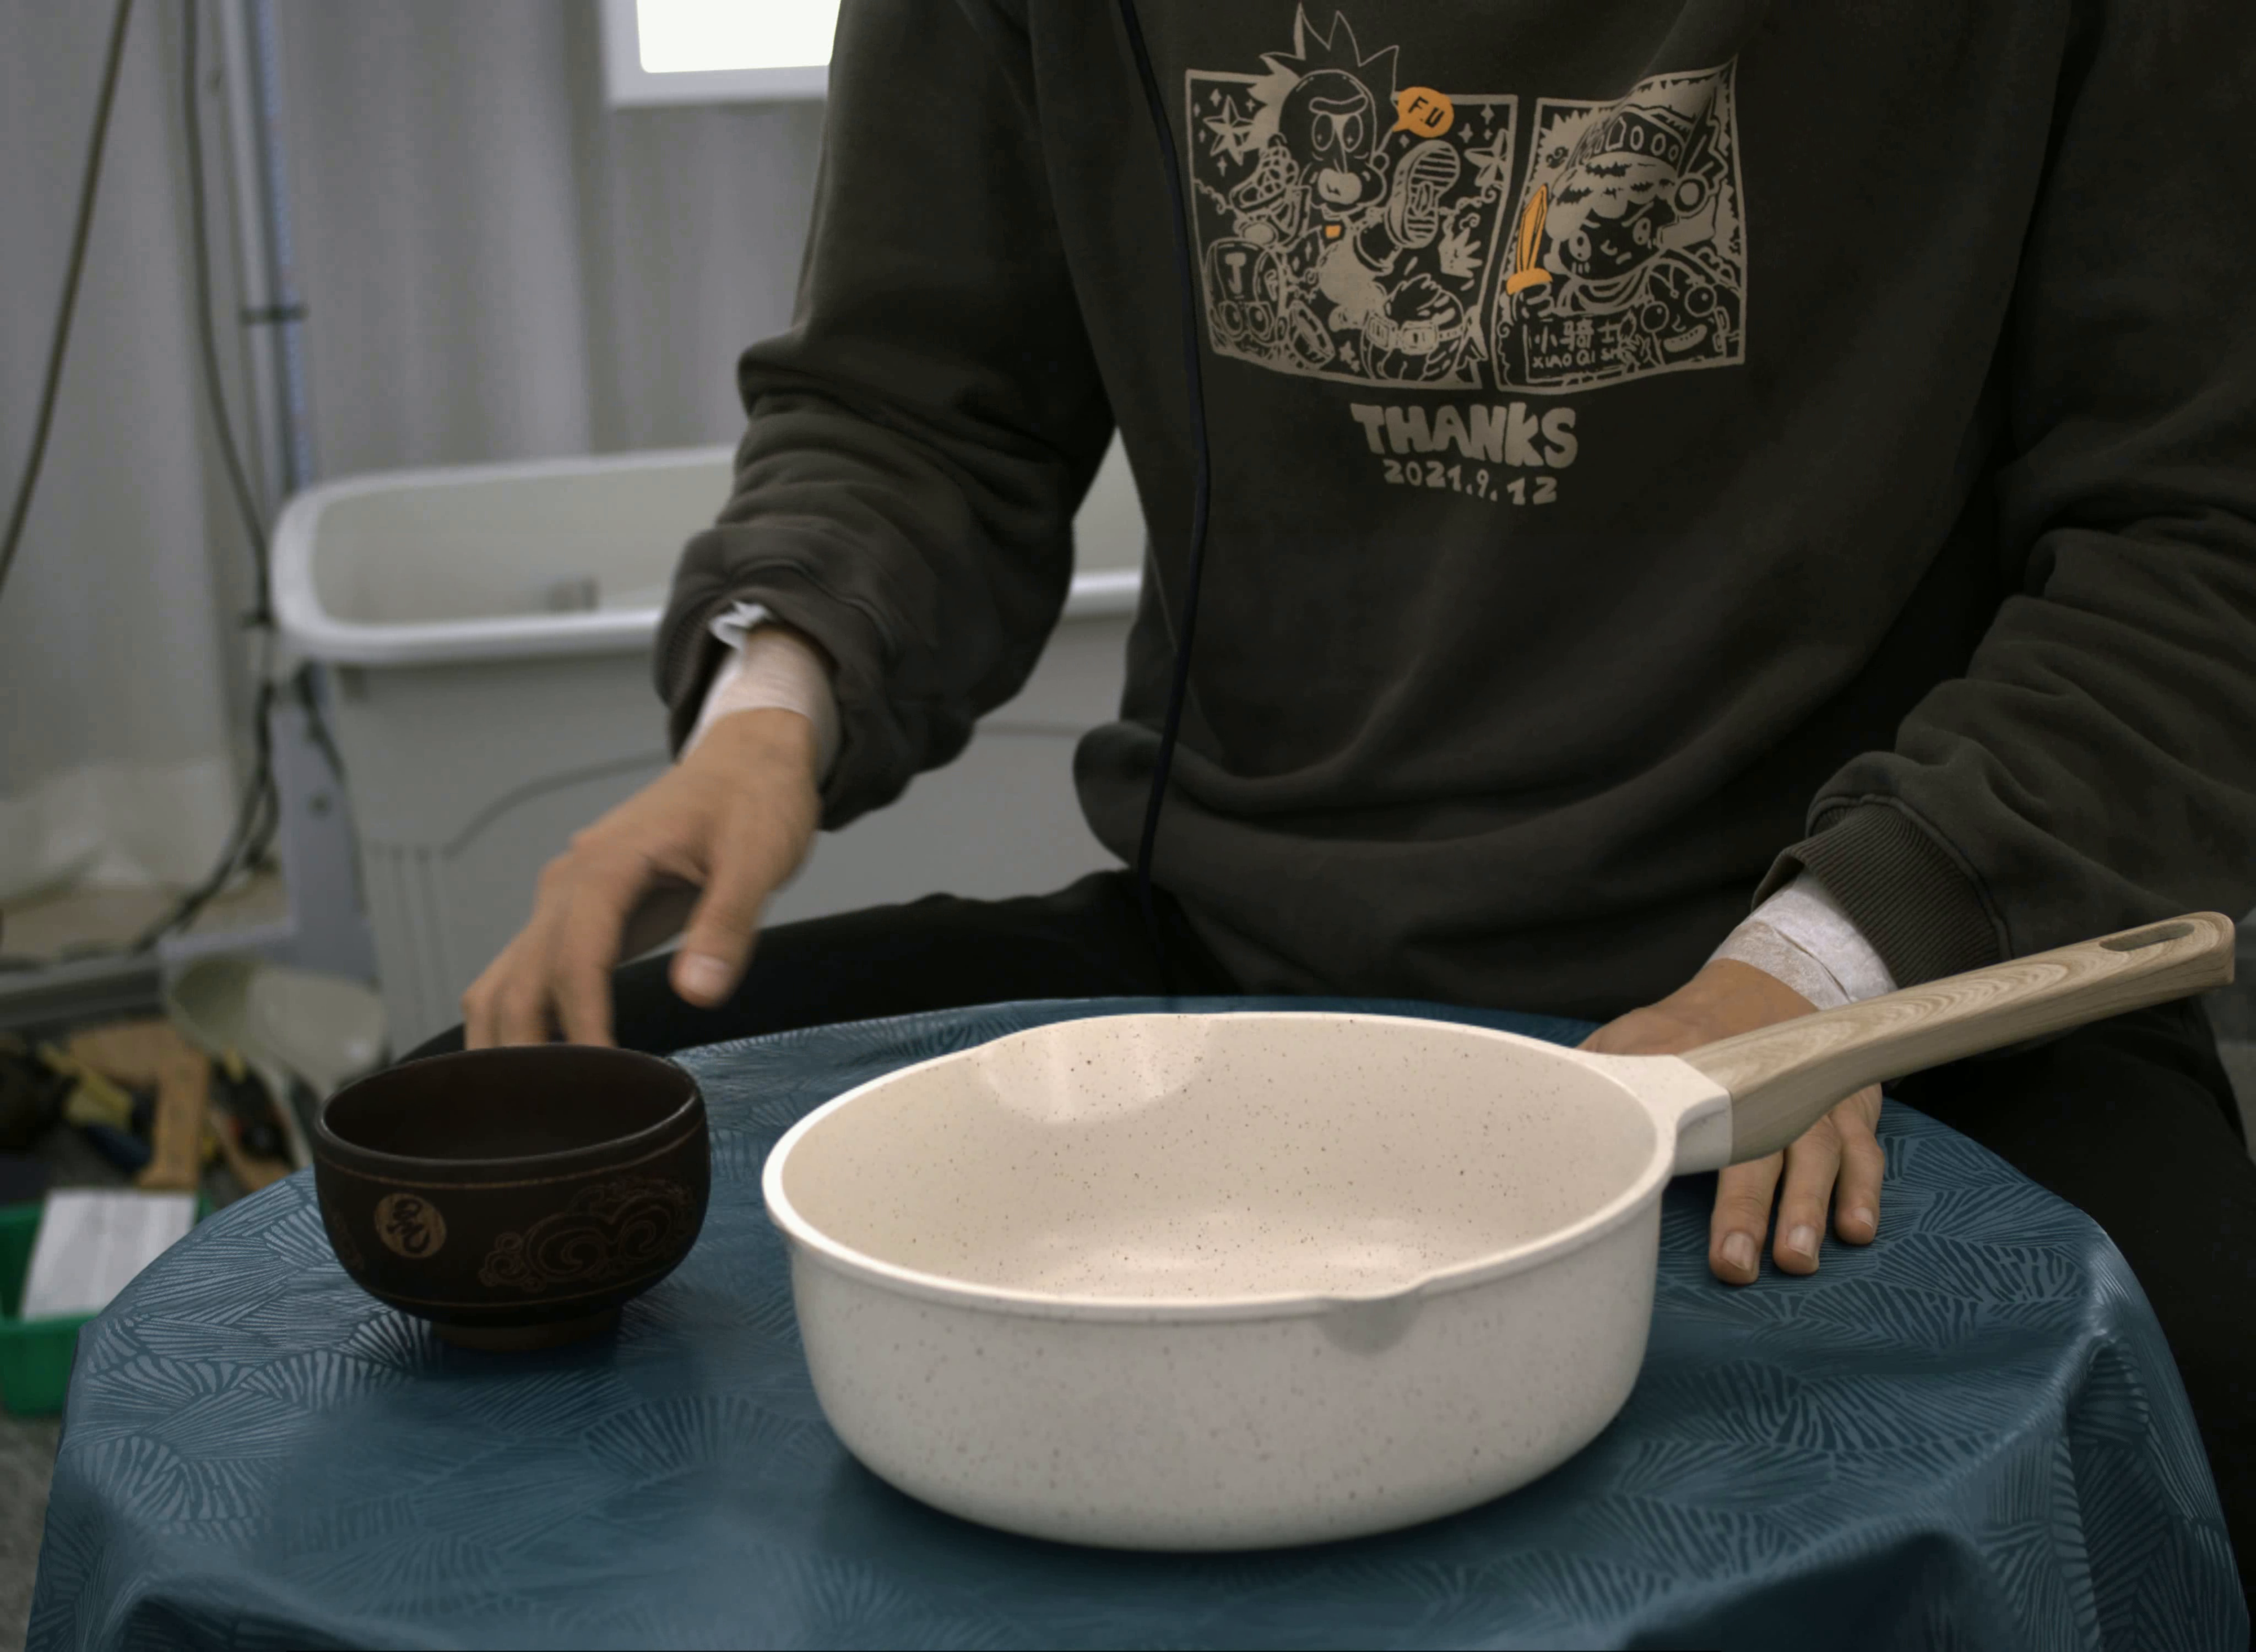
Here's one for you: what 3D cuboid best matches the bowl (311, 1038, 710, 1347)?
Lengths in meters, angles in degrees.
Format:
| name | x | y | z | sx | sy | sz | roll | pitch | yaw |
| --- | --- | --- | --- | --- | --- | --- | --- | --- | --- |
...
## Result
| name | x | y | z | sx | sy | sz | roll | pitch | yaw |
| --- | --- | --- | --- | --- | --- | --- | --- | --- | --- |
| bowl | -0.181 | 0.113 | 1.626 | 0.117 | 0.069 | 0.119 | -4 | 15 | 1 |

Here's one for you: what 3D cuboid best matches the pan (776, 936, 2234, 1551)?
| name | x | y | z | sx | sy | sz | roll | pitch | yaw |
| --- | --- | --- | --- | --- | --- | --- | --- | --- | --- |
| pan | 0.117 | 0.109 | 1.531 | 0.433 | 0.101 | 0.265 | -7 | 14 | -17 |
